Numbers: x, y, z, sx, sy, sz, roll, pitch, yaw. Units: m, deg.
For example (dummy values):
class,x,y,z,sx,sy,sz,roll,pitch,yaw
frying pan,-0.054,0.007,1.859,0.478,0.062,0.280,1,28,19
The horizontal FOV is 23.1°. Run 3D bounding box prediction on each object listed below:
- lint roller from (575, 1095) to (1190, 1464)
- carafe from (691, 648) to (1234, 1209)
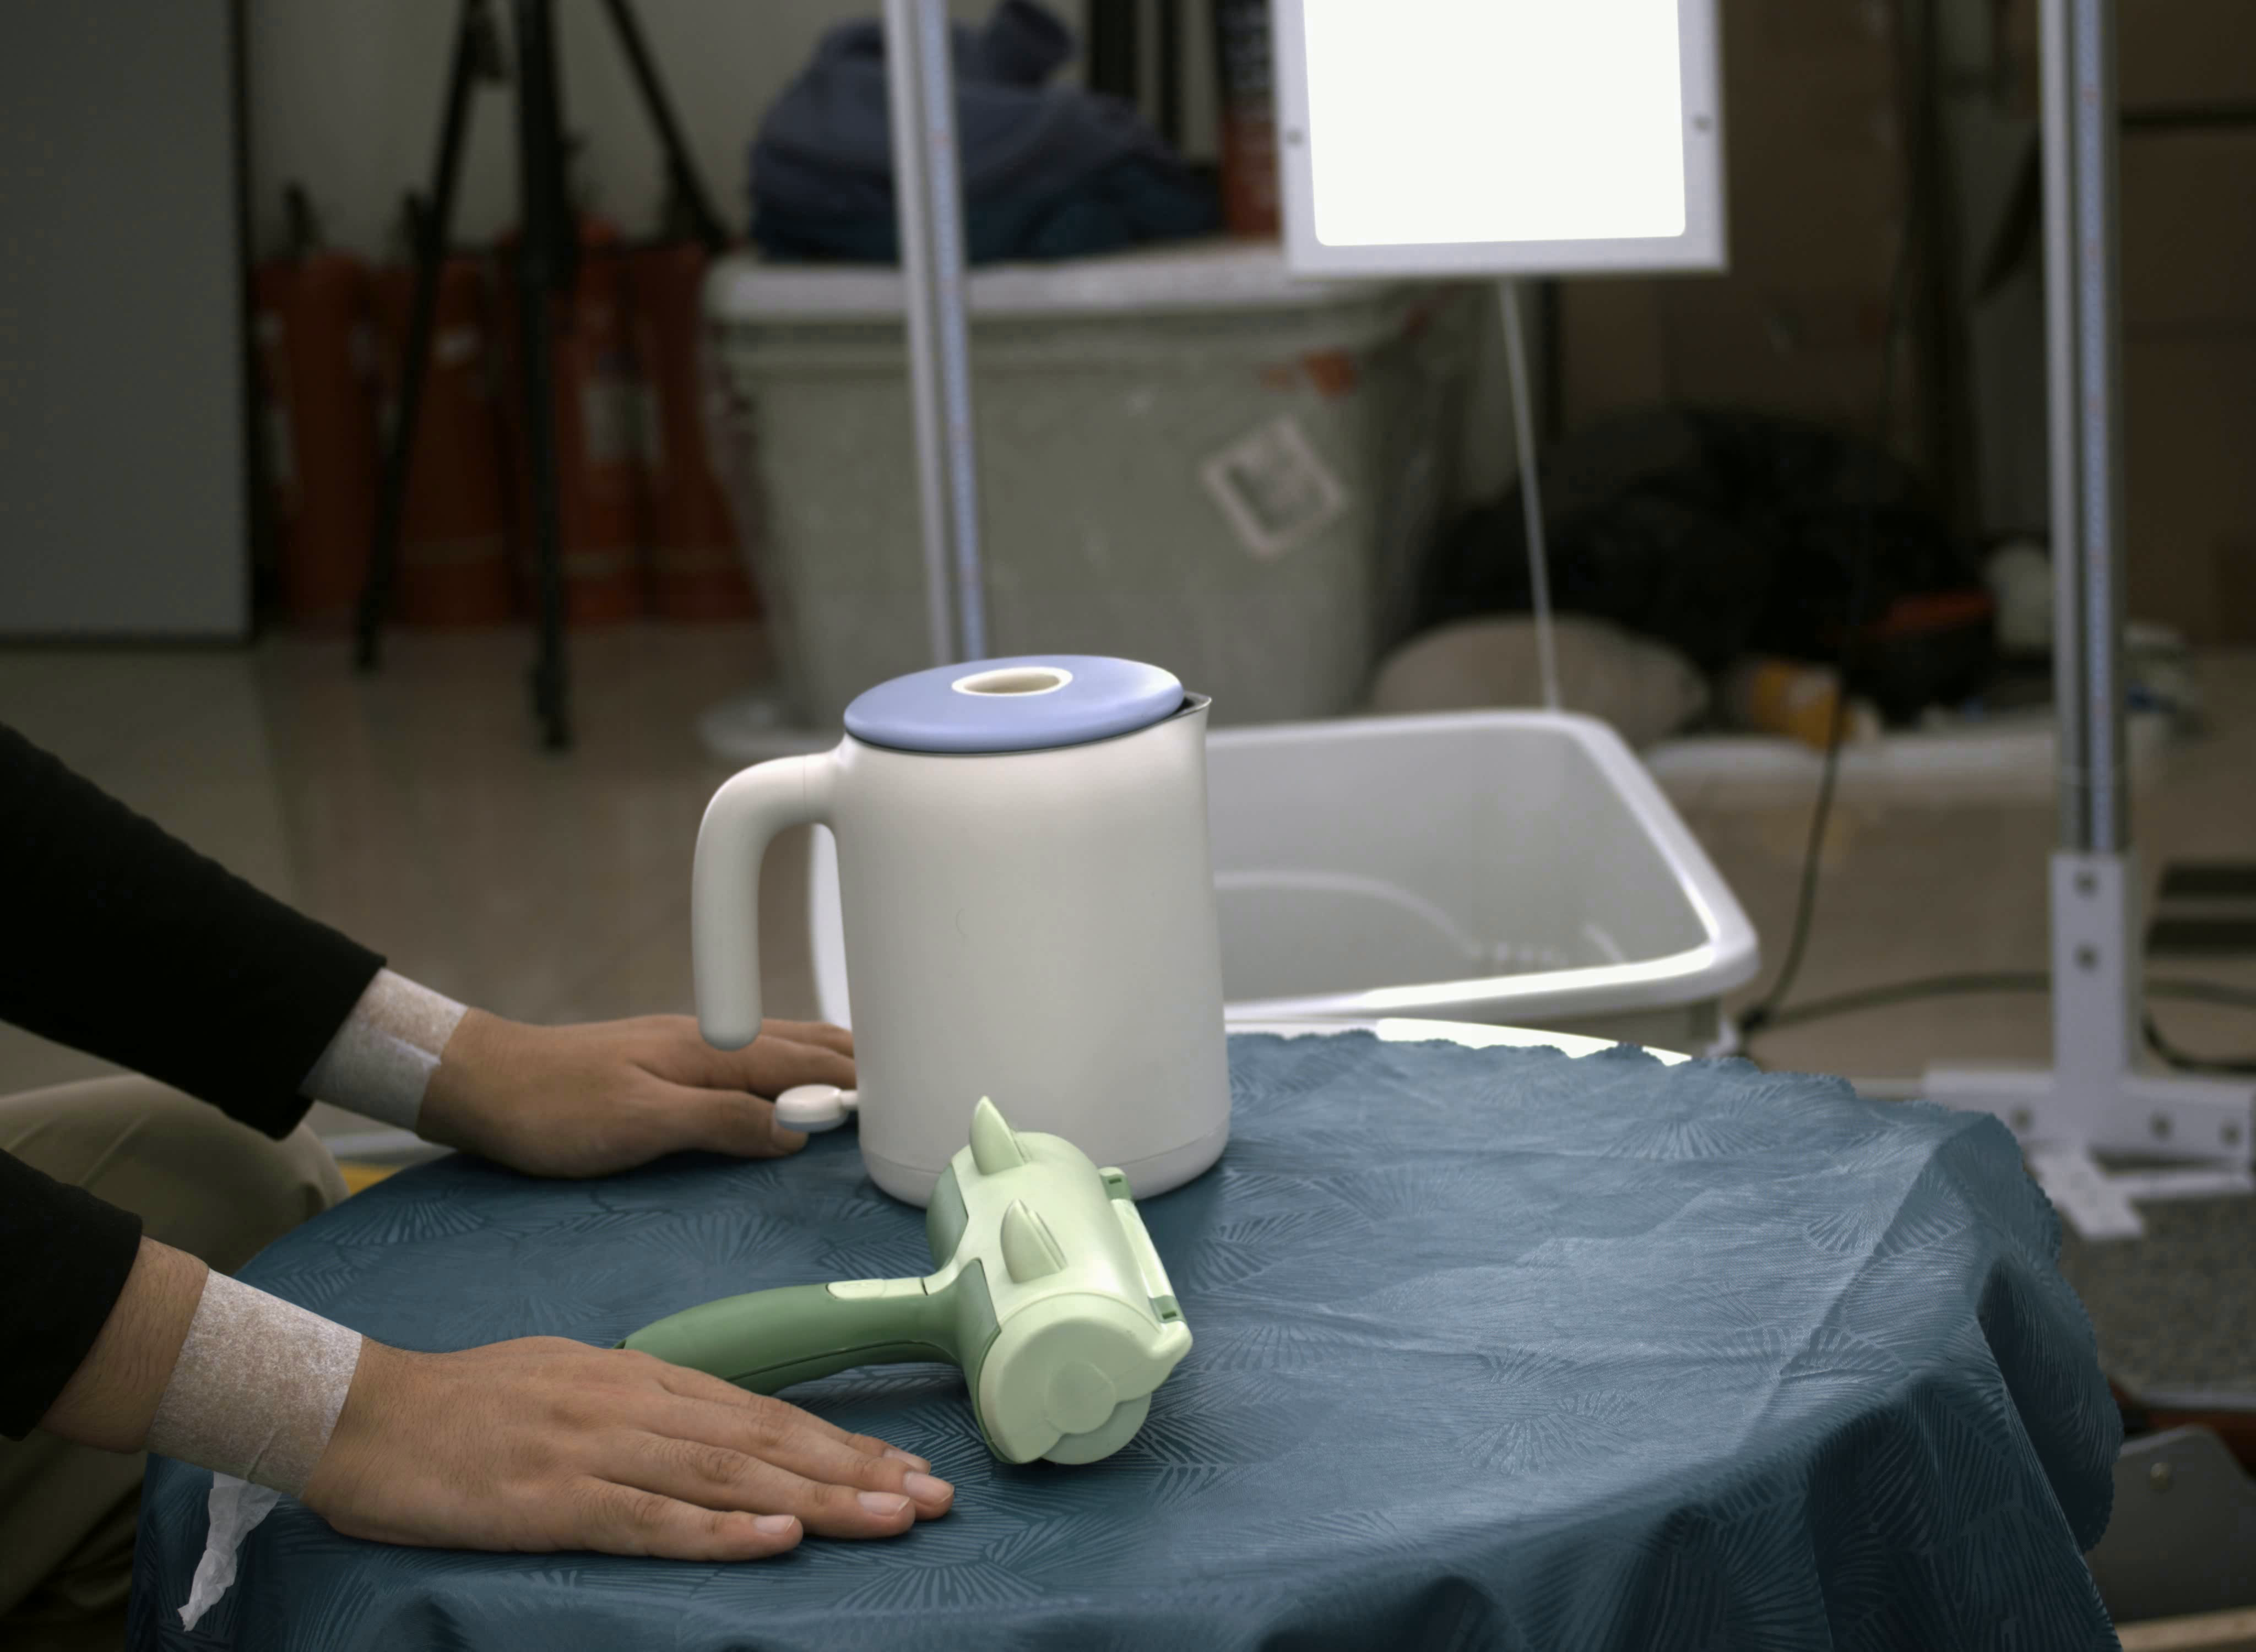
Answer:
class,x,y,z,sx,sy,sz,roll,pitch,yaw
lint roller,-0.081,0.140,1.710,0.182,0.082,0.199,-3,12,-4
carafe,-0.058,0.039,1.916,0.191,0.183,0.131,-6,13,4
